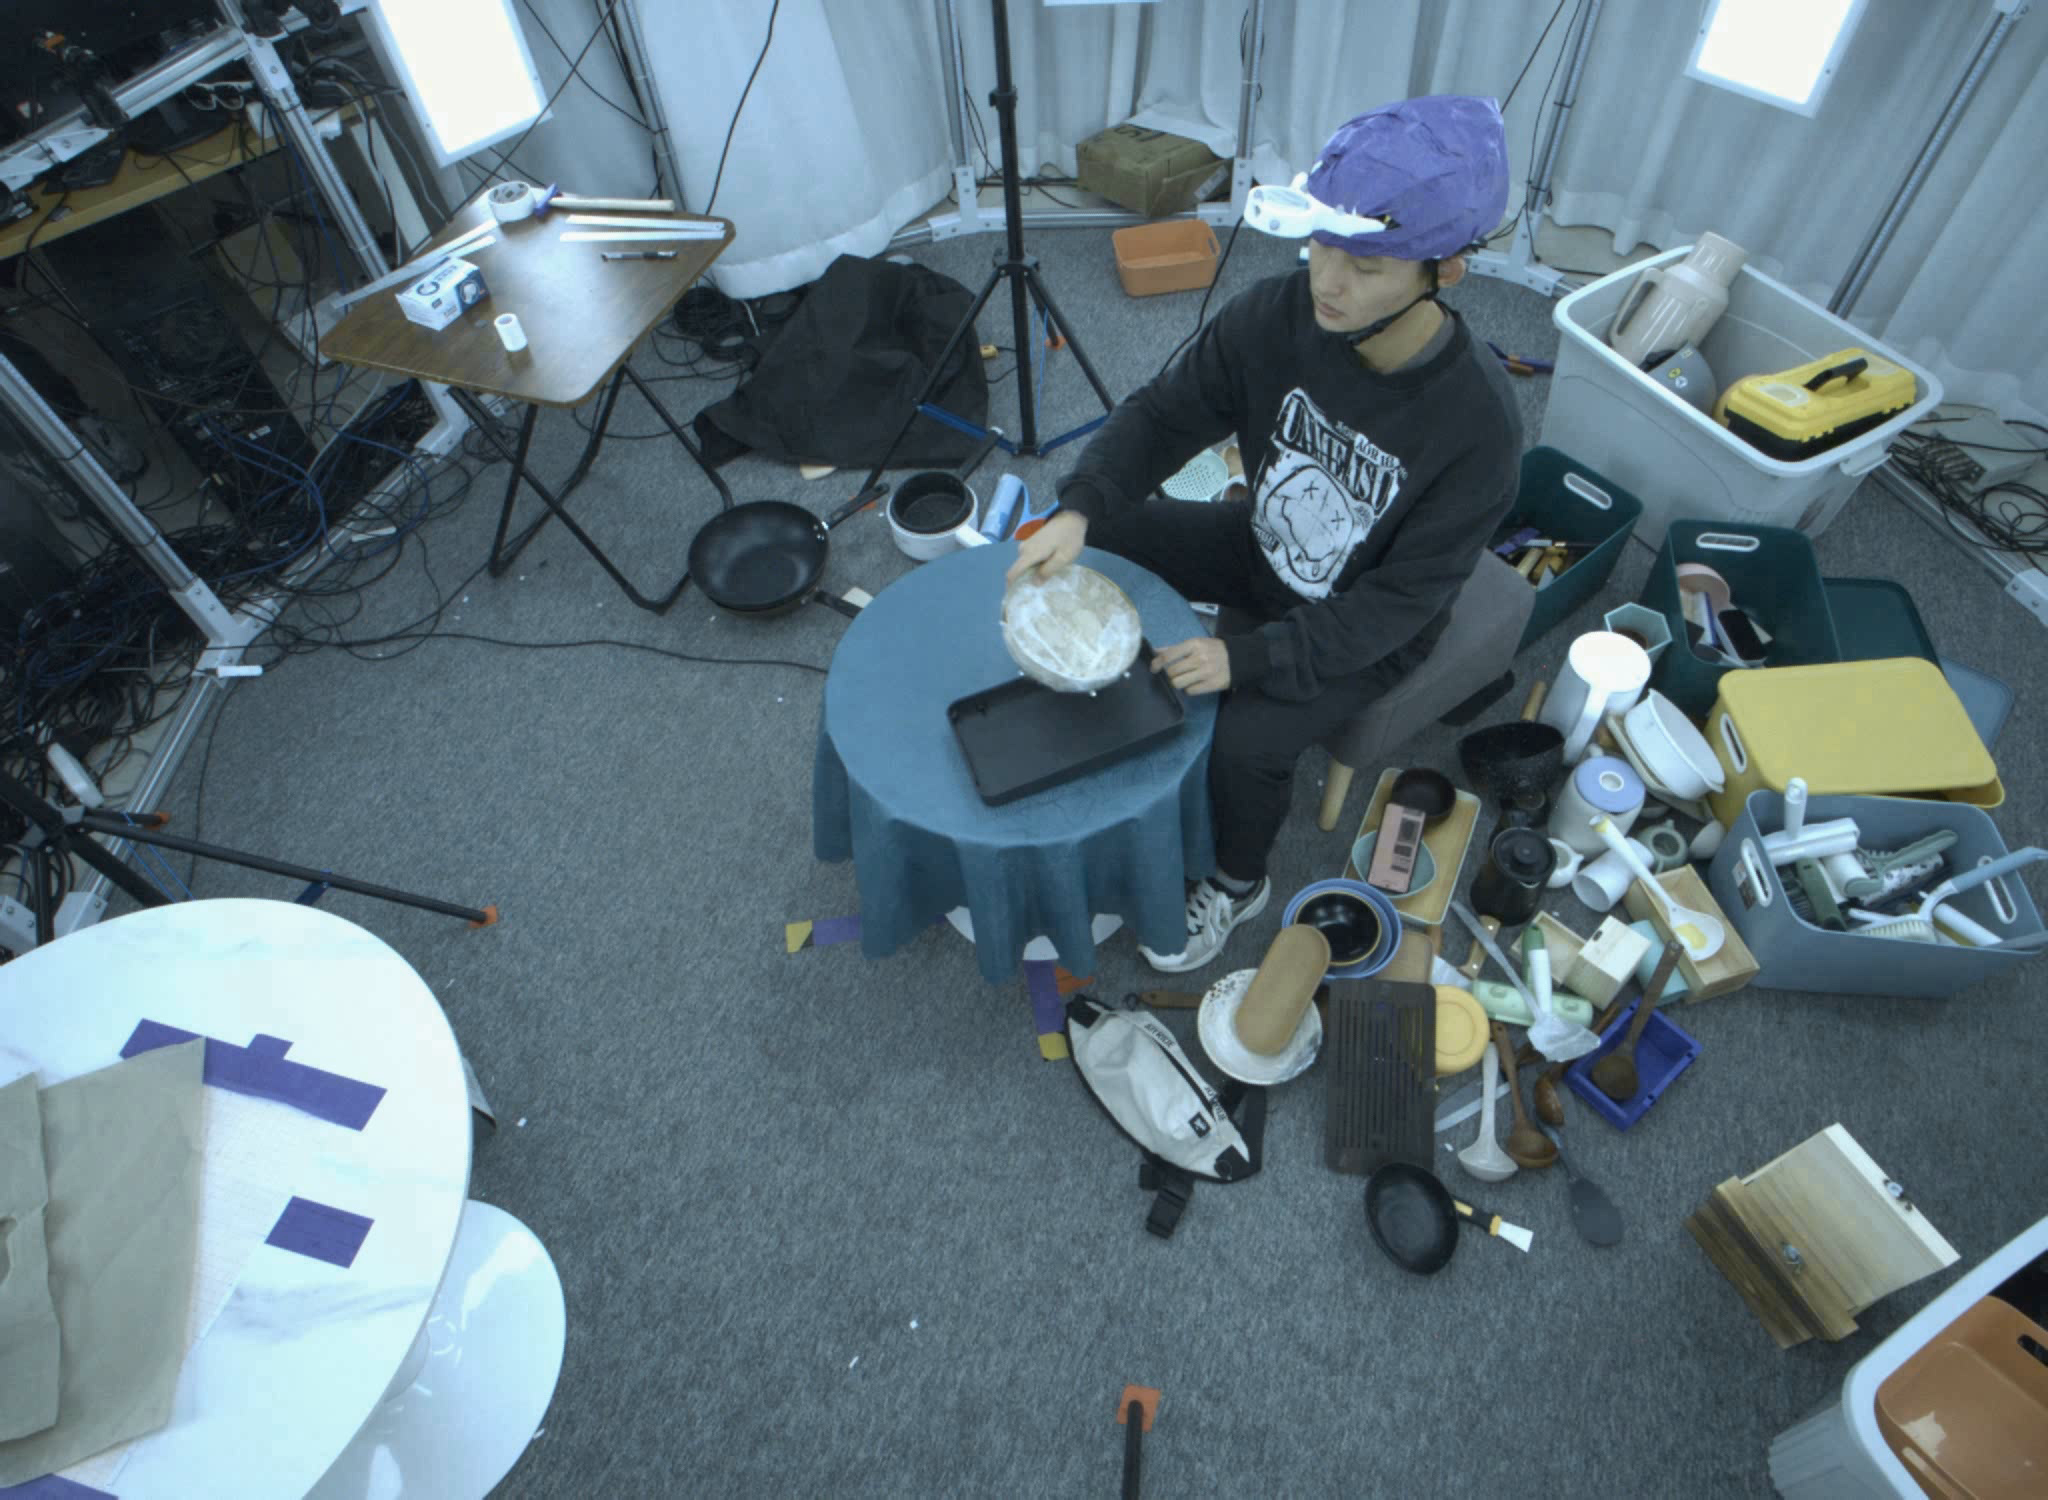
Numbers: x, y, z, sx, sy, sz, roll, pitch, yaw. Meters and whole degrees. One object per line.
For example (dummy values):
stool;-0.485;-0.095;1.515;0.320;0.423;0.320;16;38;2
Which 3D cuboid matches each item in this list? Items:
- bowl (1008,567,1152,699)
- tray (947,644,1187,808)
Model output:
bowl;0.067;-0.152;1.731;0.217;0.094;0.212;10;58;-16
tray;0.061;-0.041;1.782;0.319;0.037;0.181;-20;55;-5
